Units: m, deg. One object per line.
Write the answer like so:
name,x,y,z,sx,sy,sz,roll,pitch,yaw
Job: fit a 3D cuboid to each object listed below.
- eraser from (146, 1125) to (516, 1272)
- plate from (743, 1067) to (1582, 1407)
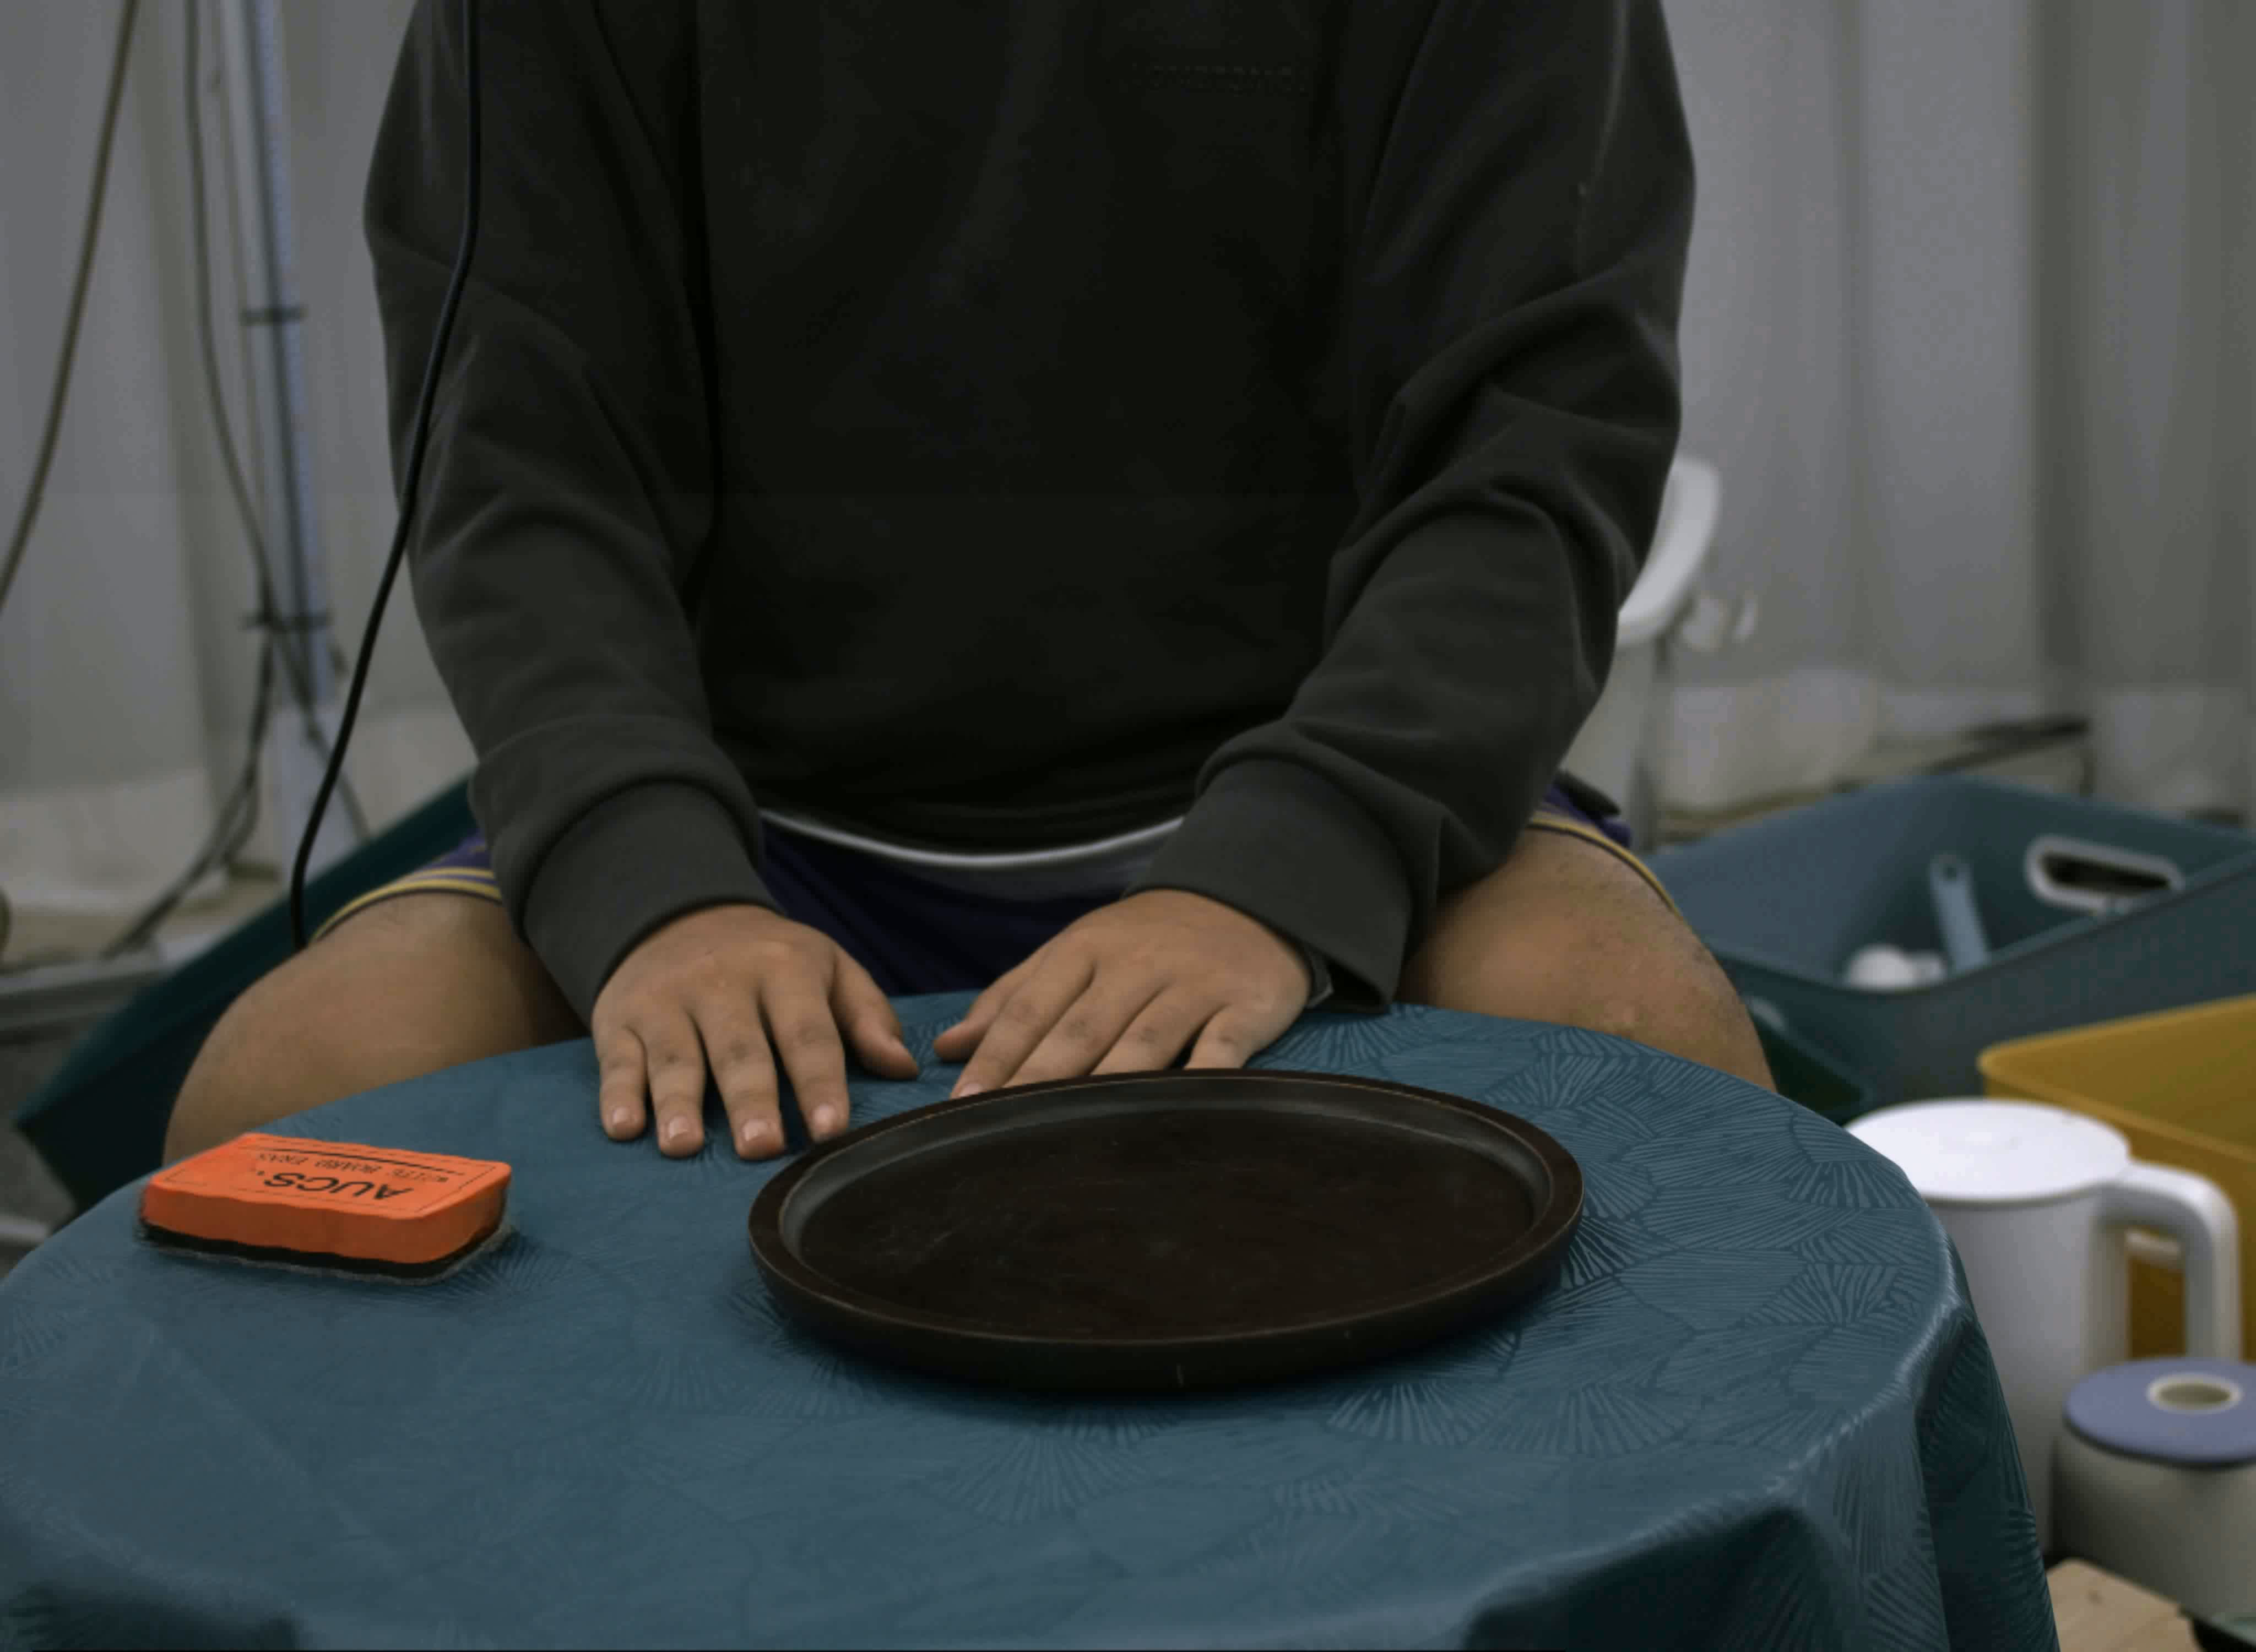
eraser,-0.248,0.116,1.703,0.108,0.023,0.059,3,16,27
plate,0.011,0.121,1.647,0.254,0.029,0.256,-4,15,1
